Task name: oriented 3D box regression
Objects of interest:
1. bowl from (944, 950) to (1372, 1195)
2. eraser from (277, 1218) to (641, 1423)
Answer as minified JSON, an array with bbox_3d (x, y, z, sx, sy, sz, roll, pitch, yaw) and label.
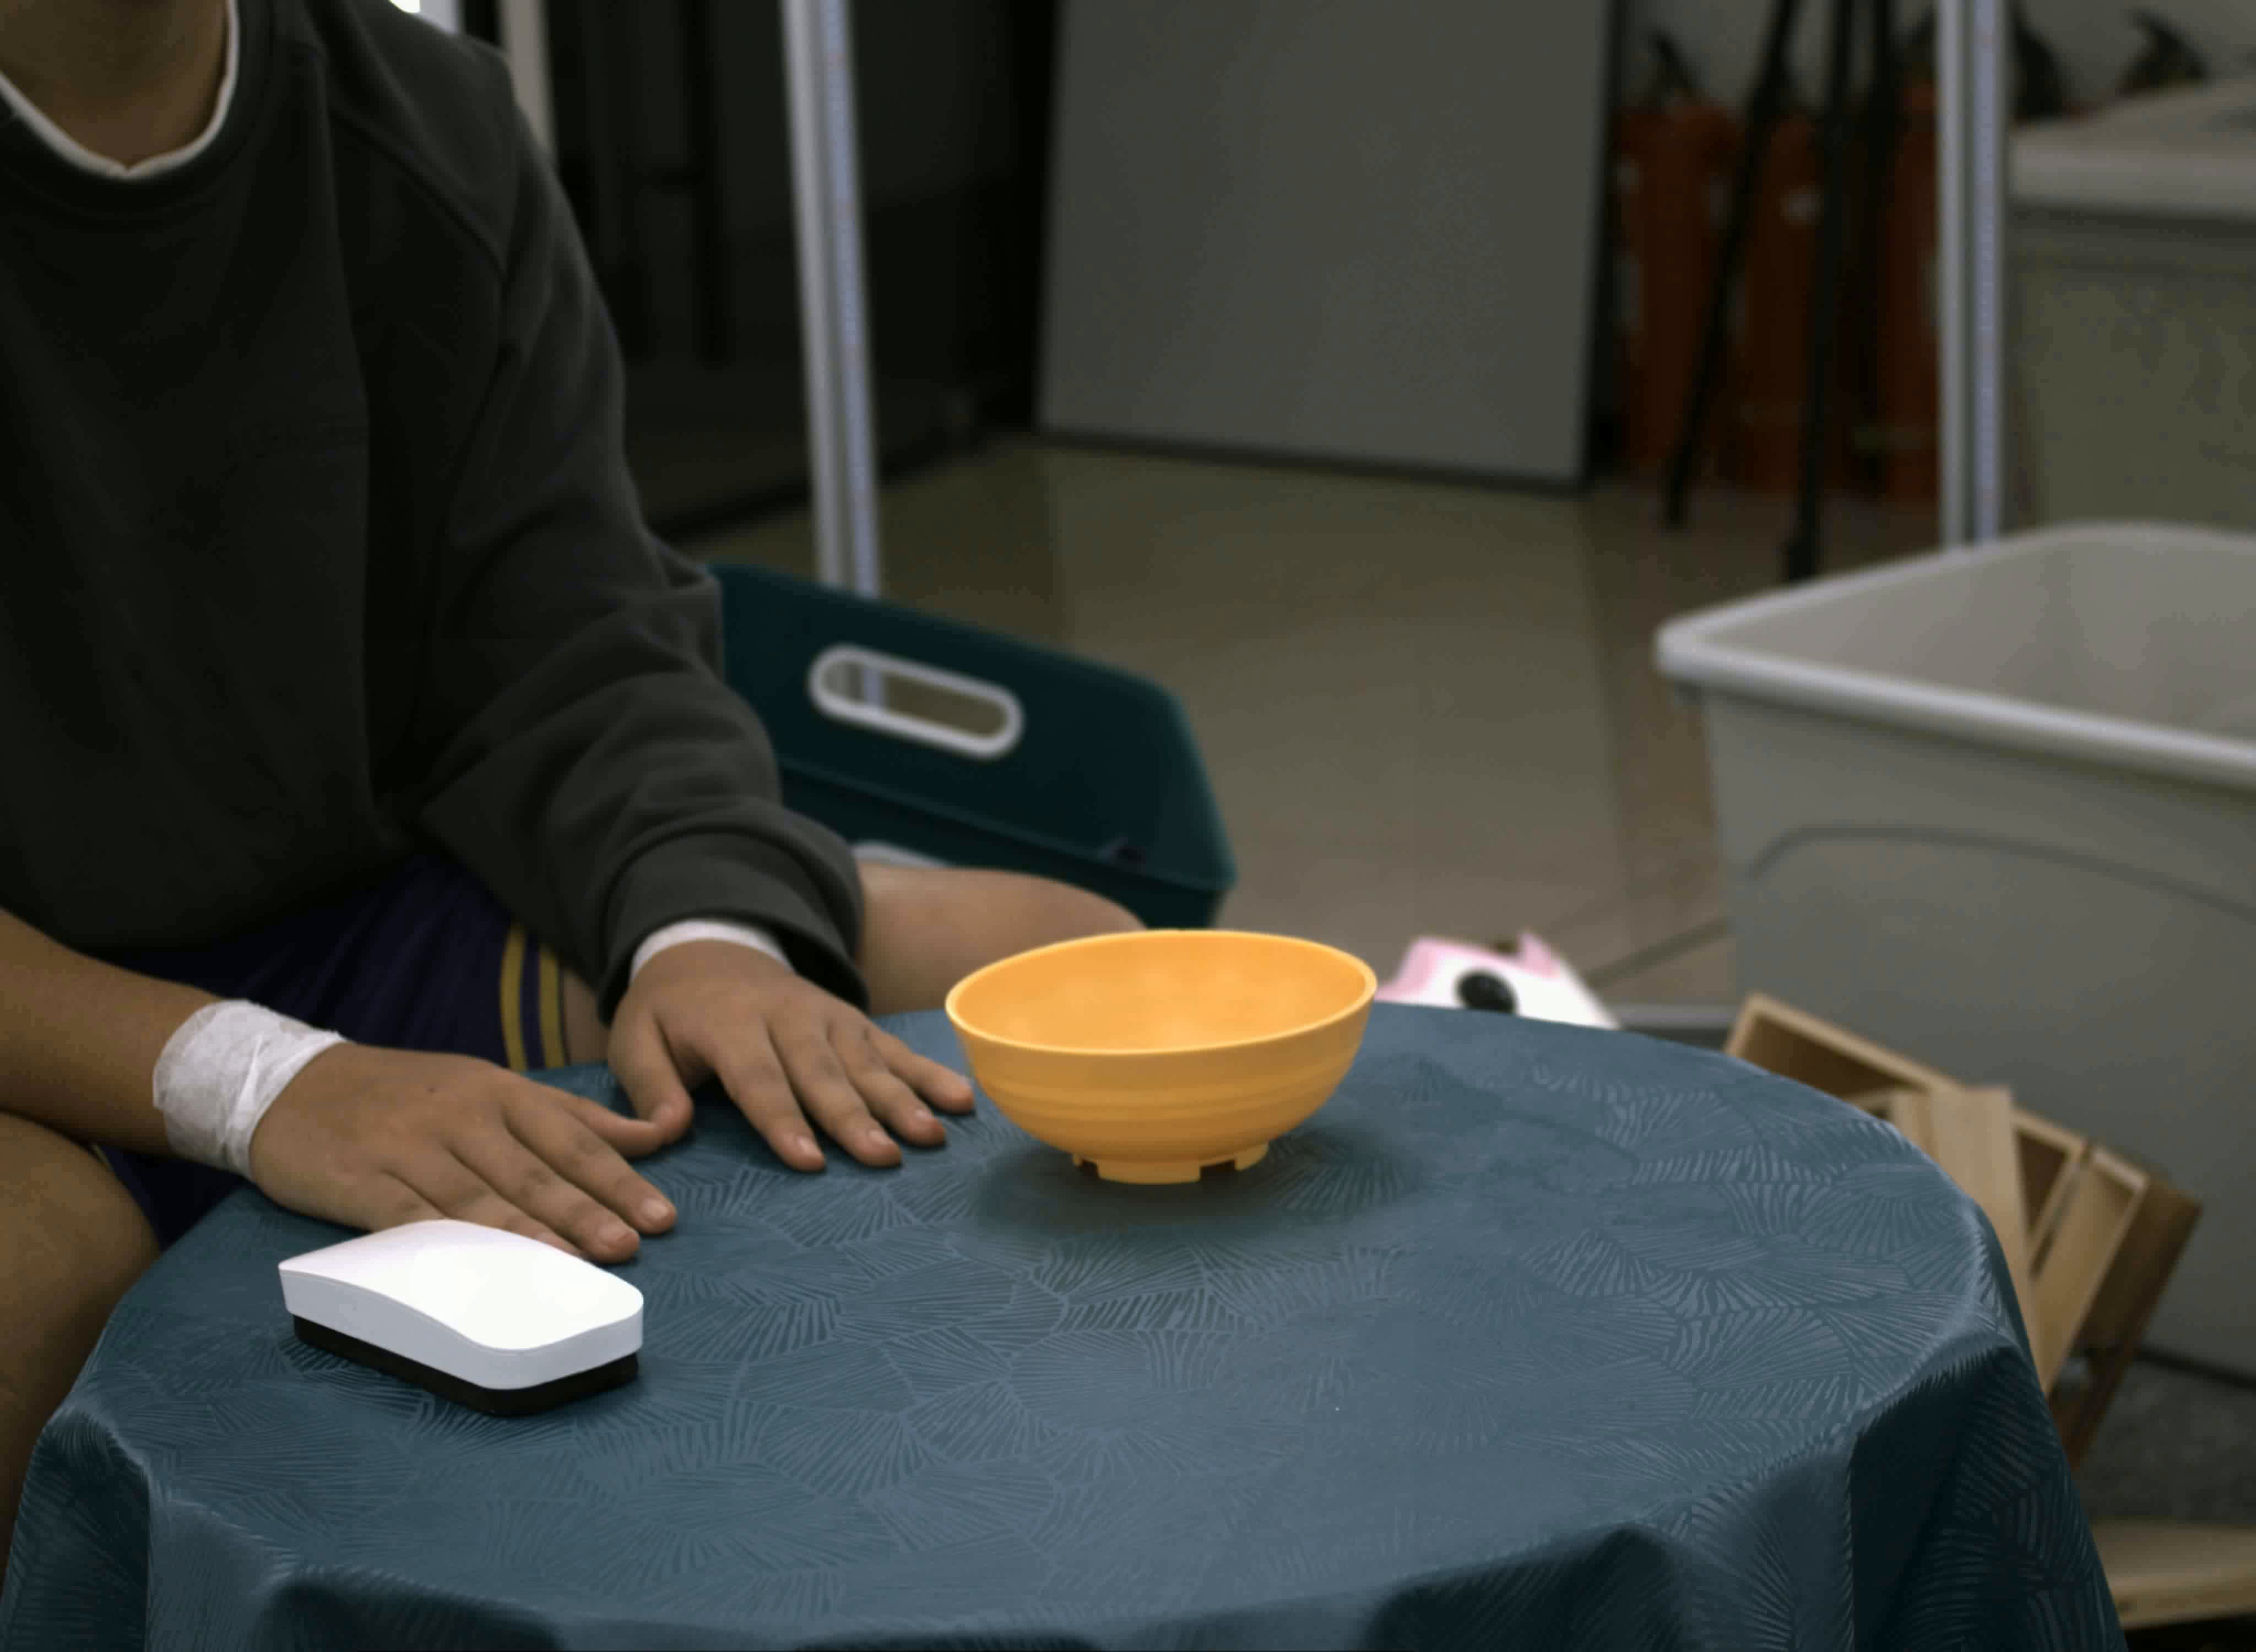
[{"bbox_3d":[0.012,0.086,1.797,0.143,0.061,0.145,-4,11,0],"label":"bowl"},{"bbox_3d":[-0.203,0.148,1.652,0.062,0.035,0.132,-14,18,-37],"label":"eraser"}]
